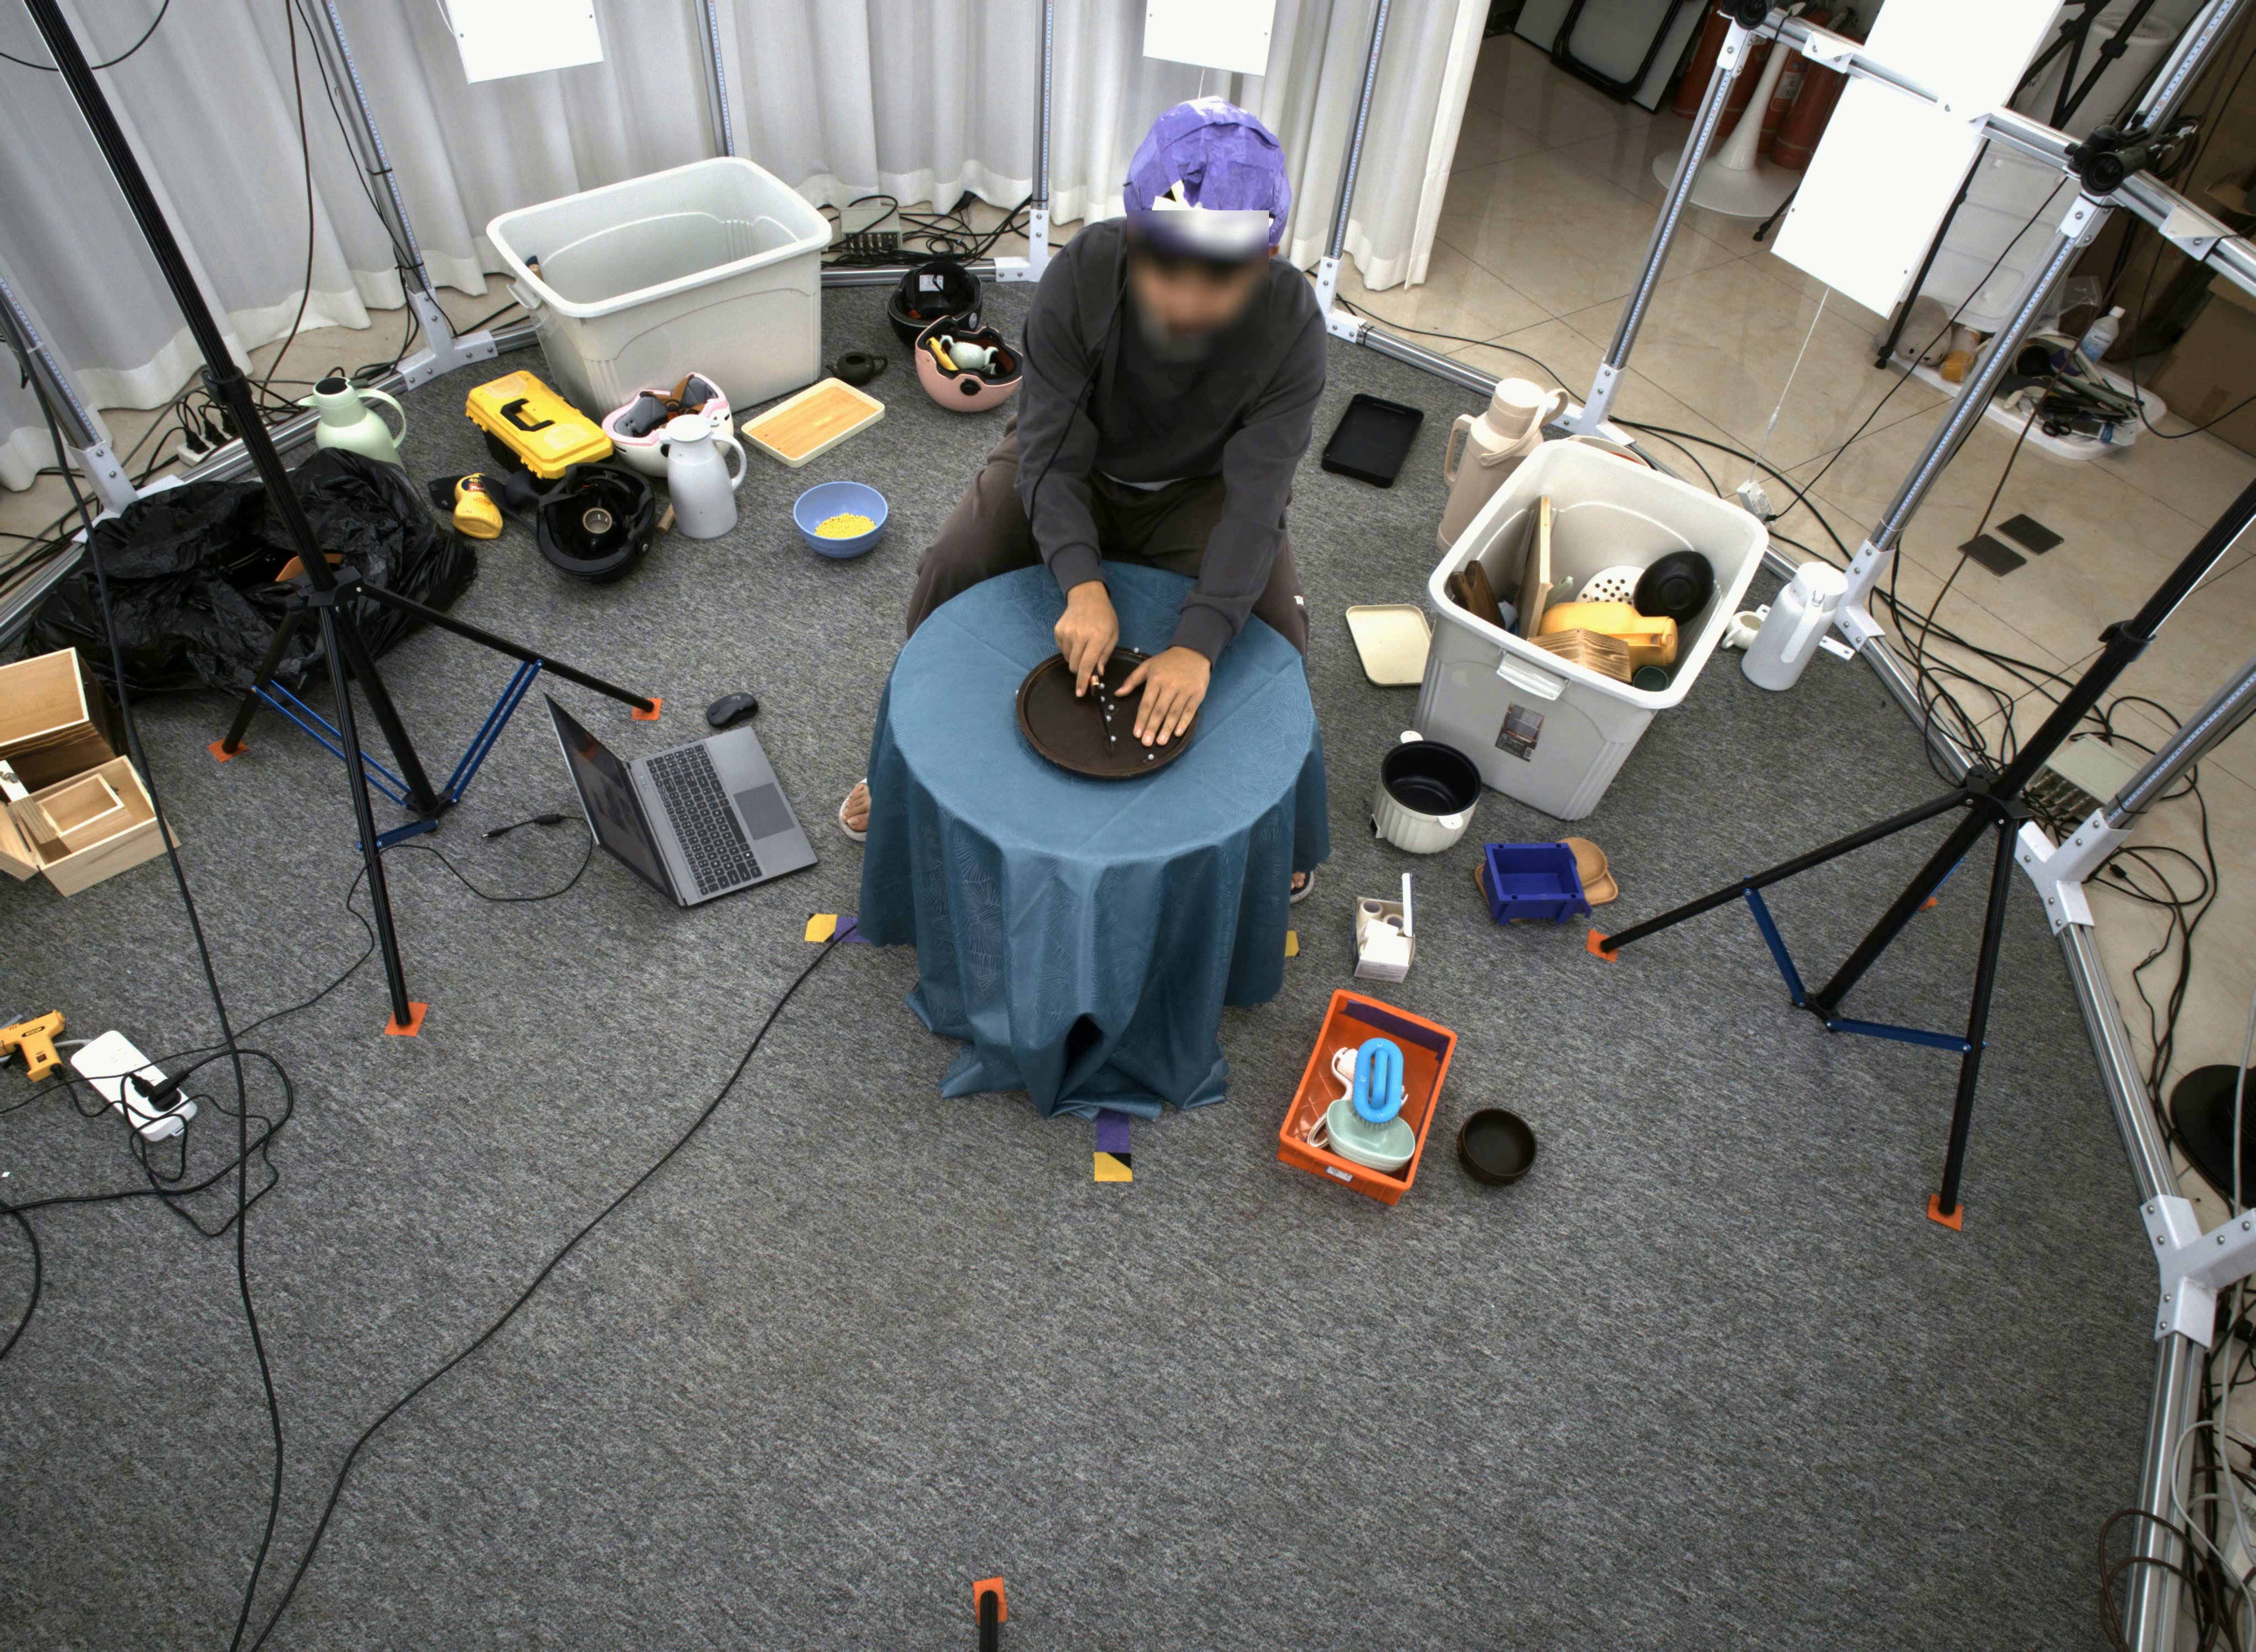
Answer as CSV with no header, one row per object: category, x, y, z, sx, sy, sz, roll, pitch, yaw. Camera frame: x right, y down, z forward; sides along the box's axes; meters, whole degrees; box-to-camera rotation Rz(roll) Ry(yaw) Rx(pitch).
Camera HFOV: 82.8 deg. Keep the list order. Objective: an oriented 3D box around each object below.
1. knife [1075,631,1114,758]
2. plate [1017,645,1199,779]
knife,-0.045,-0.186,1.779,0.017,0.025,0.231,-3,52,-18
plate,-0.028,-0.160,1.787,0.254,0.028,0.261,2,48,-2
